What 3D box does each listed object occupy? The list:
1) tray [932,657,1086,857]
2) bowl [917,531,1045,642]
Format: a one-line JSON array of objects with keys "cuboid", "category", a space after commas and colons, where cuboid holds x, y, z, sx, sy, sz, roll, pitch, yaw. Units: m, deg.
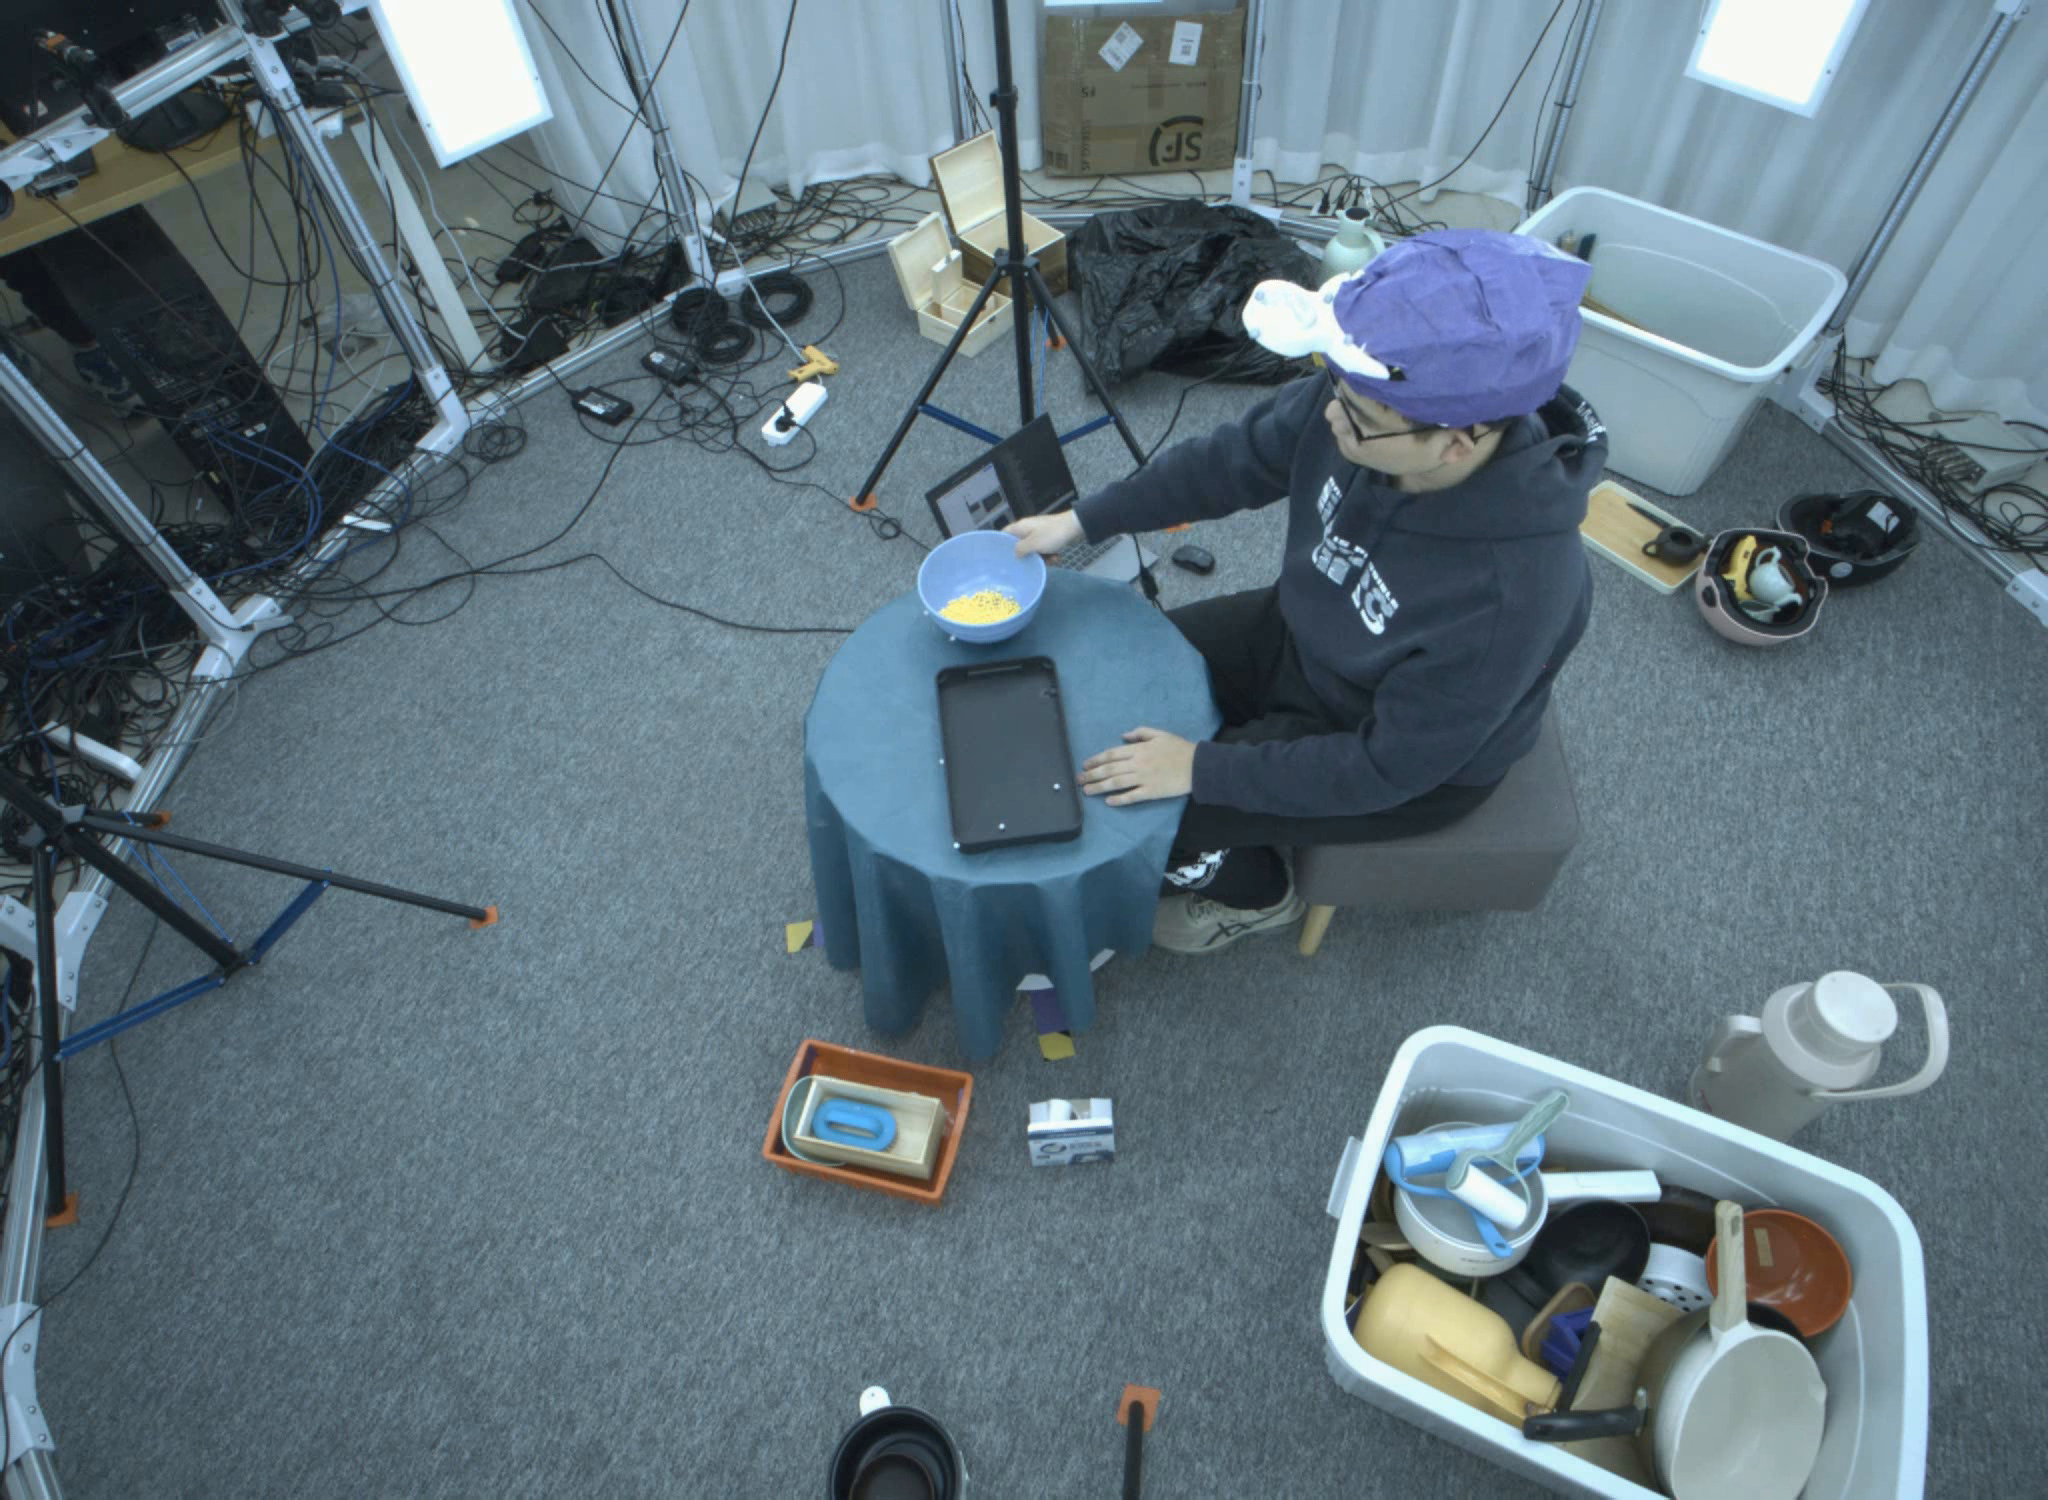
[{"cuboid": [-0.025, 0.005, 1.765, 0.185, 0.037, 0.313, -8, 54, -5], "category": "tray"}, {"cuboid": [-0.063, -0.237, 1.897, 0.196, 0.096, 0.194, -1, 55, 2], "category": "bowl"}]
